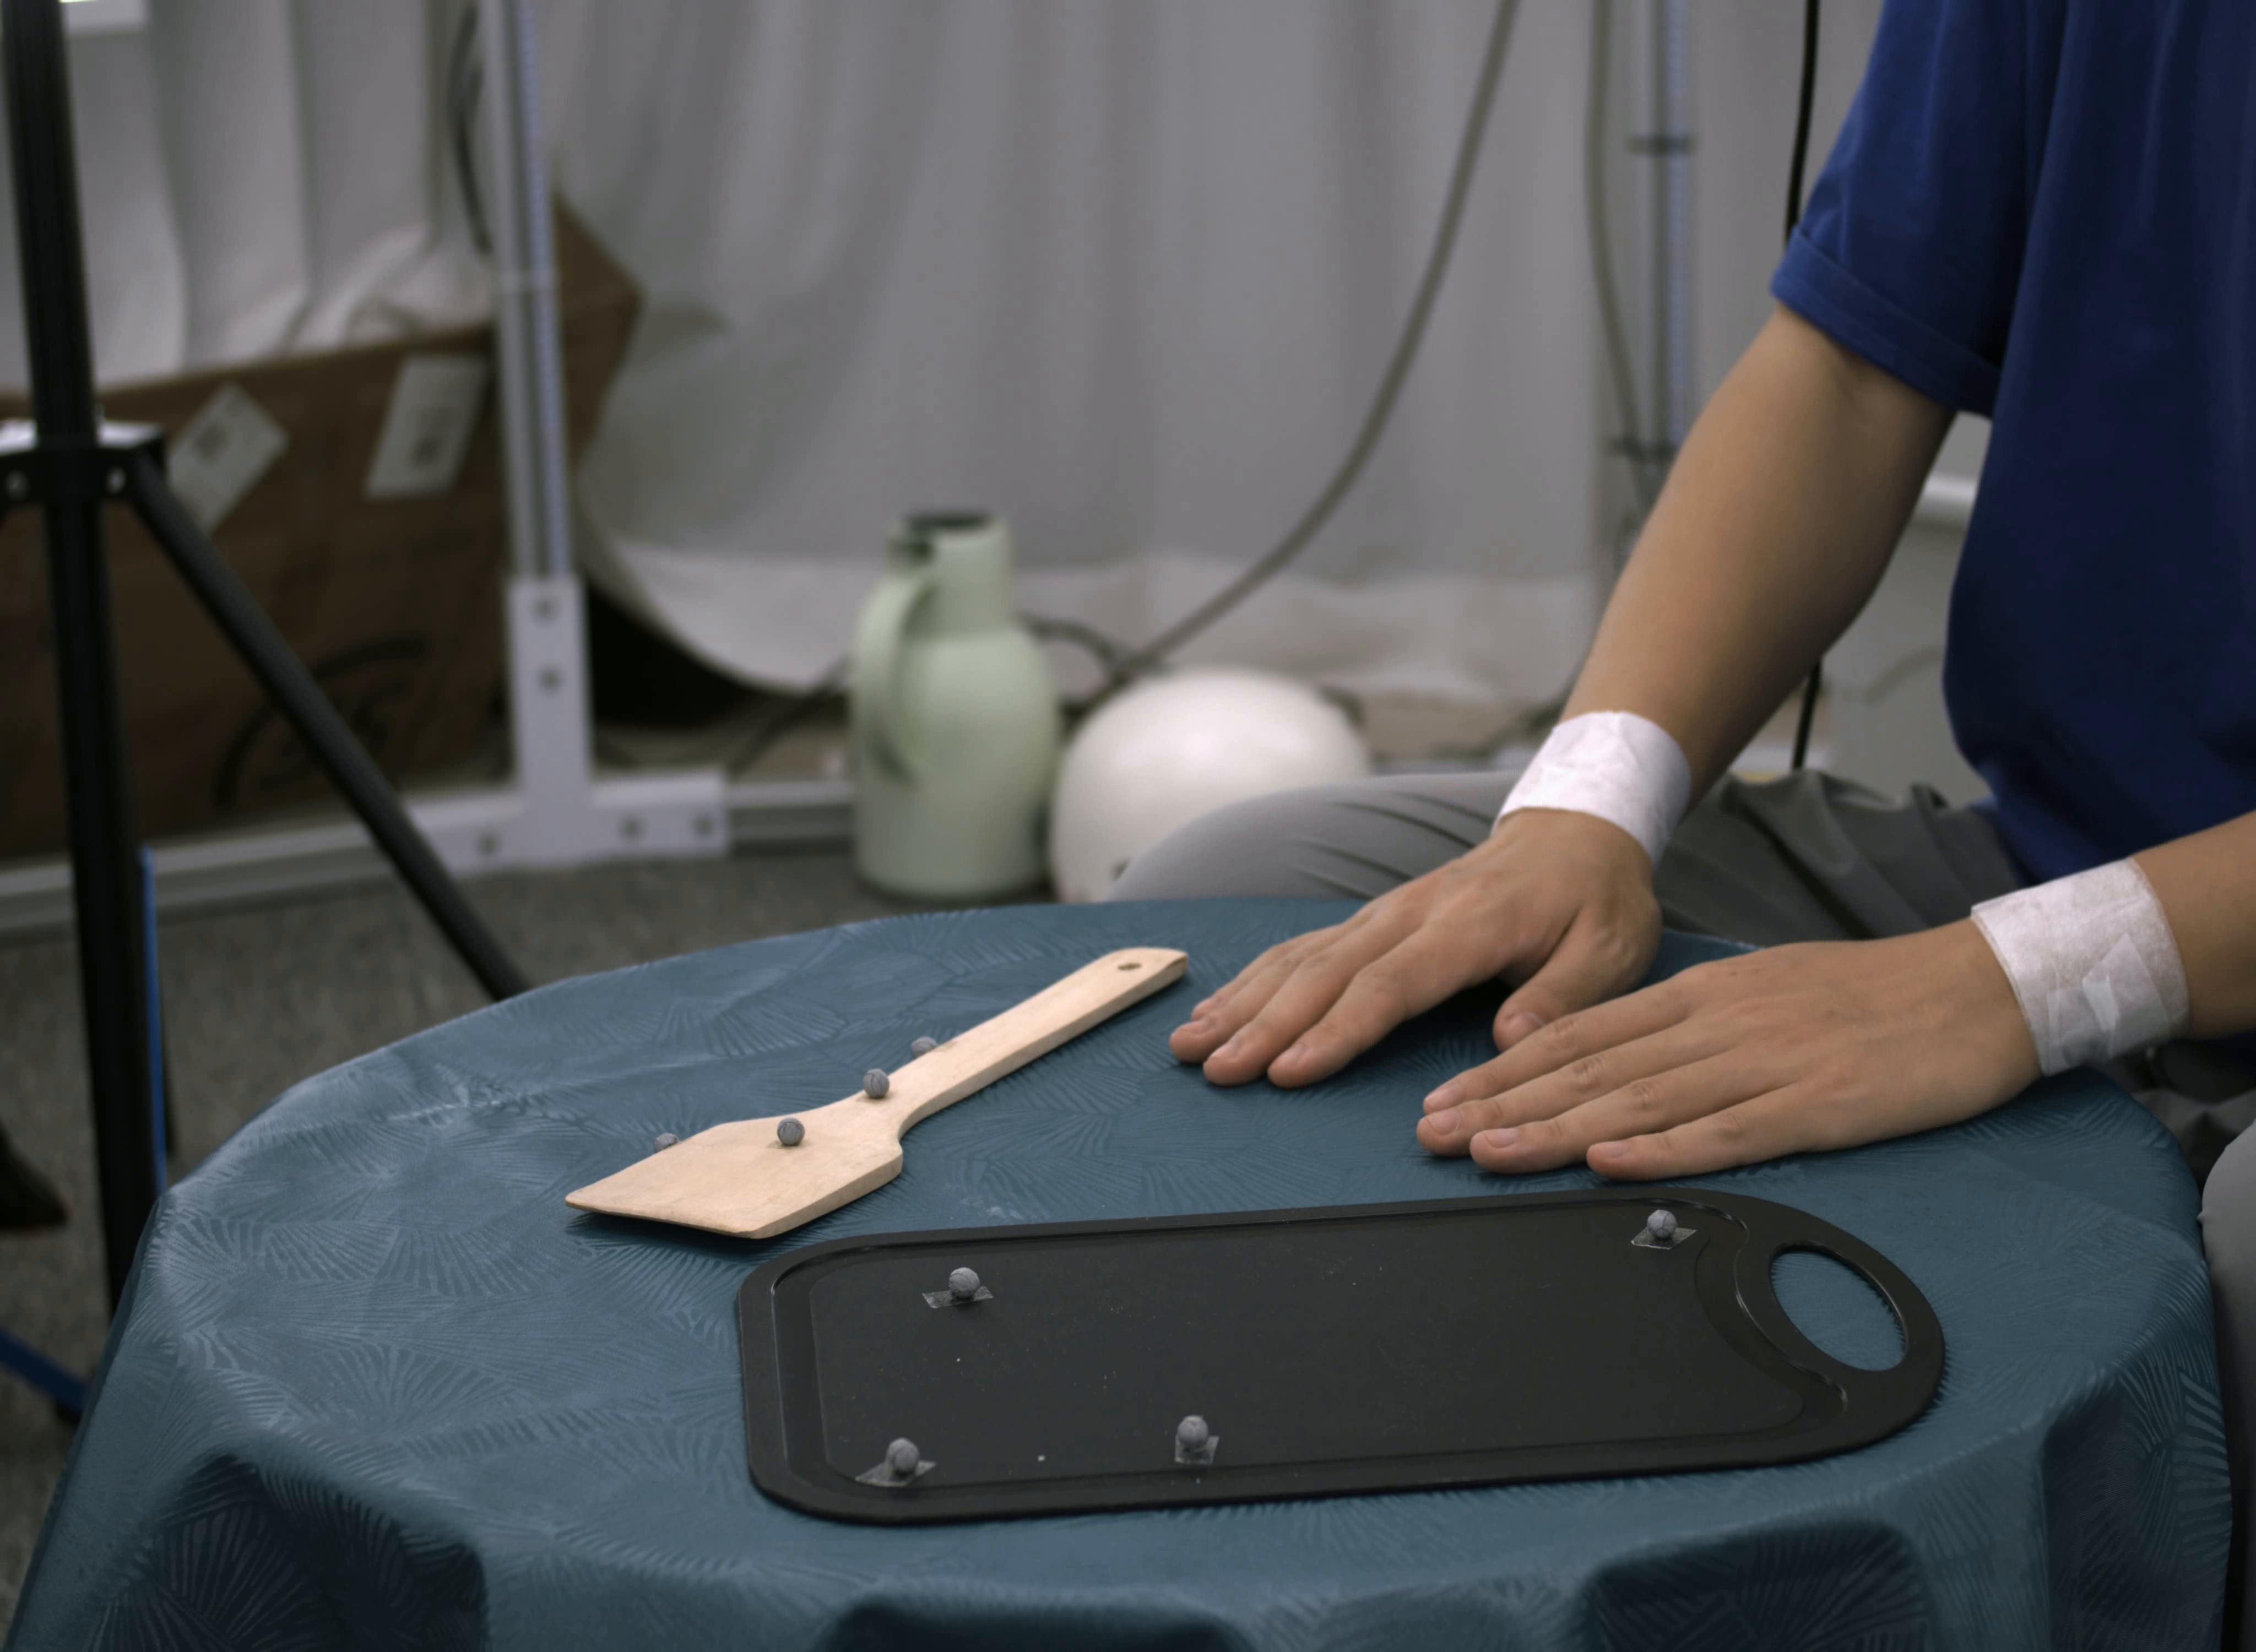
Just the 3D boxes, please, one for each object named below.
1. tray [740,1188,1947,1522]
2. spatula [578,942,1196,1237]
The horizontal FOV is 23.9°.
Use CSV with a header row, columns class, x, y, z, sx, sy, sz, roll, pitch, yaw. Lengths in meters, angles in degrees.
class,x,y,z,sx,sy,sz,roll,pitch,yaw
tray,0.058,0.138,1.430,0.323,0.010,0.212,-3,16,-2
spatula,-0.061,0.079,1.654,0.073,0.010,0.287,6,18,31
